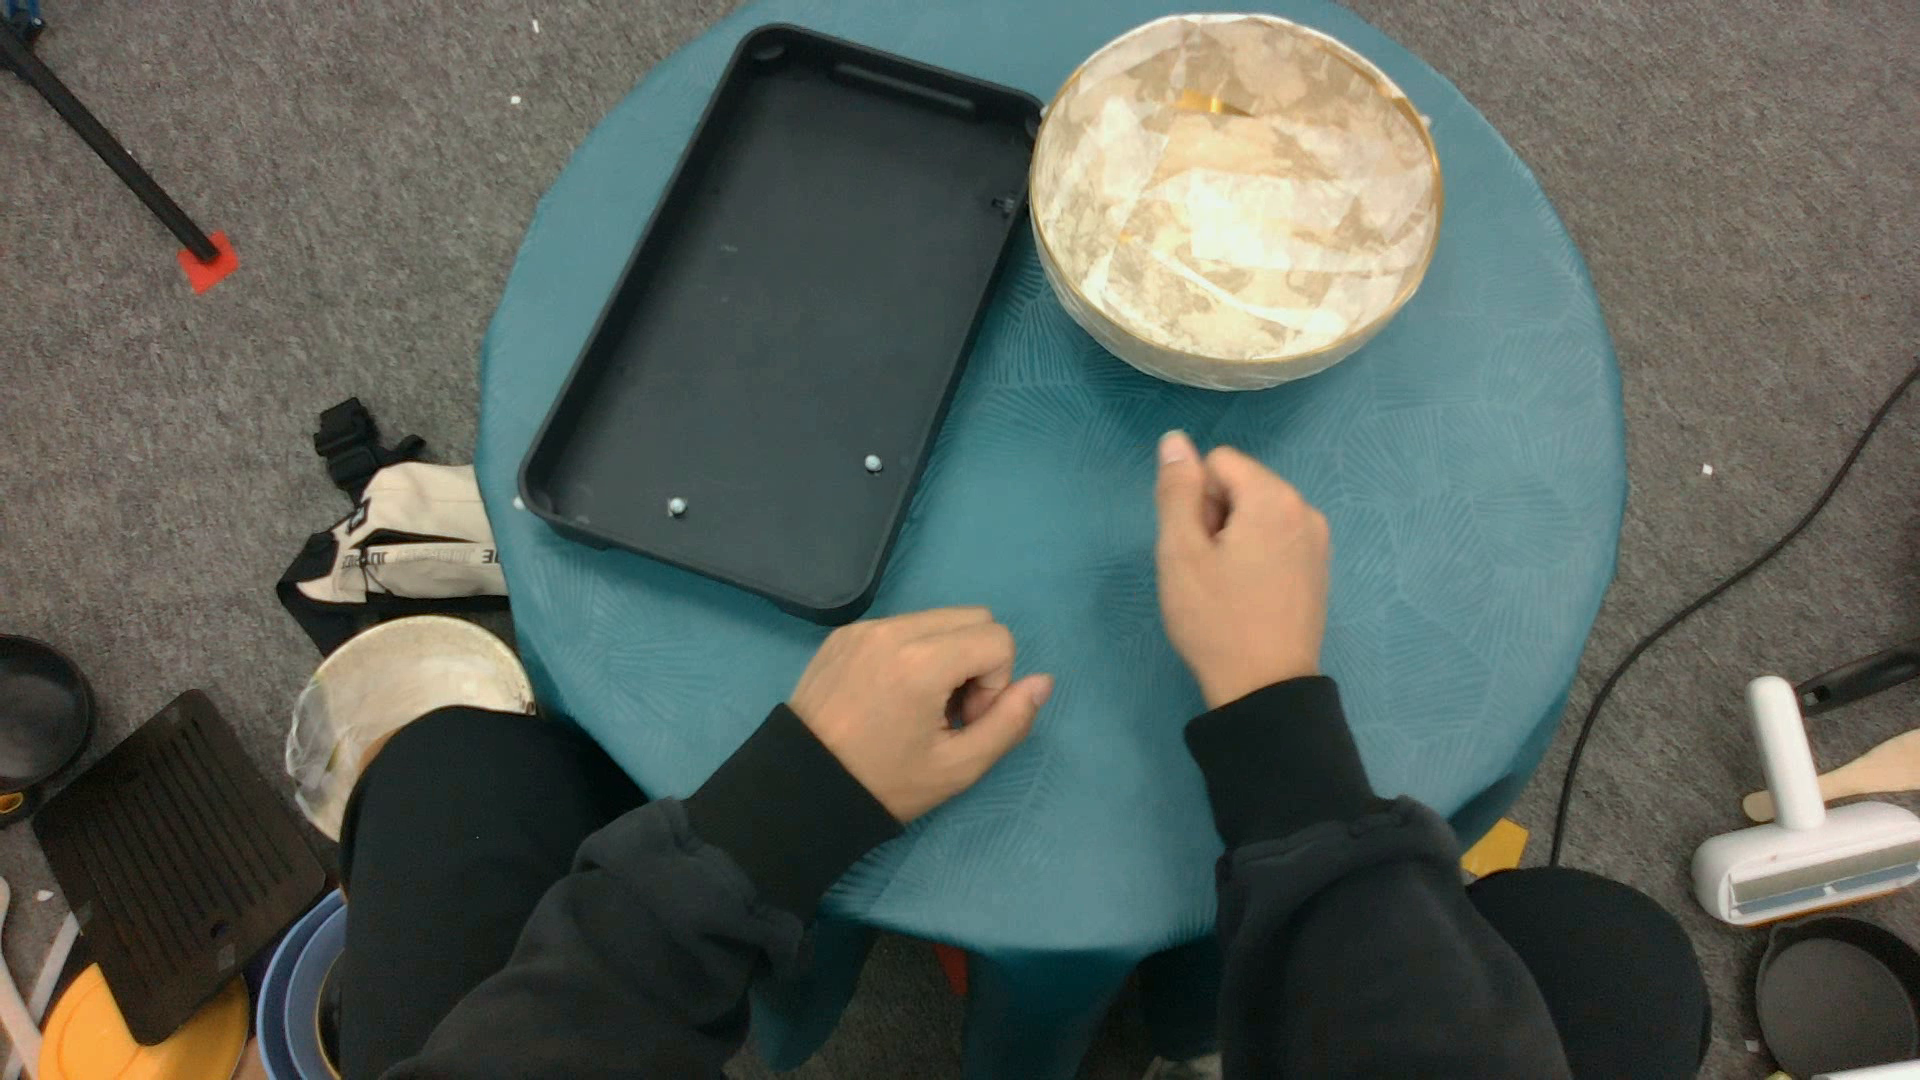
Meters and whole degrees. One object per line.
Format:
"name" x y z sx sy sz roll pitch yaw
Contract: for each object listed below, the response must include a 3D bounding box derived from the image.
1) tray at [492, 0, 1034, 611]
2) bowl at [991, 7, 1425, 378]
"tray" -0.093 -0.131 0.720 0.184 0.037 0.319 20 71 5
"bowl" 0.119 -0.161 0.709 0.215 0.094 0.215 1 68 -2
